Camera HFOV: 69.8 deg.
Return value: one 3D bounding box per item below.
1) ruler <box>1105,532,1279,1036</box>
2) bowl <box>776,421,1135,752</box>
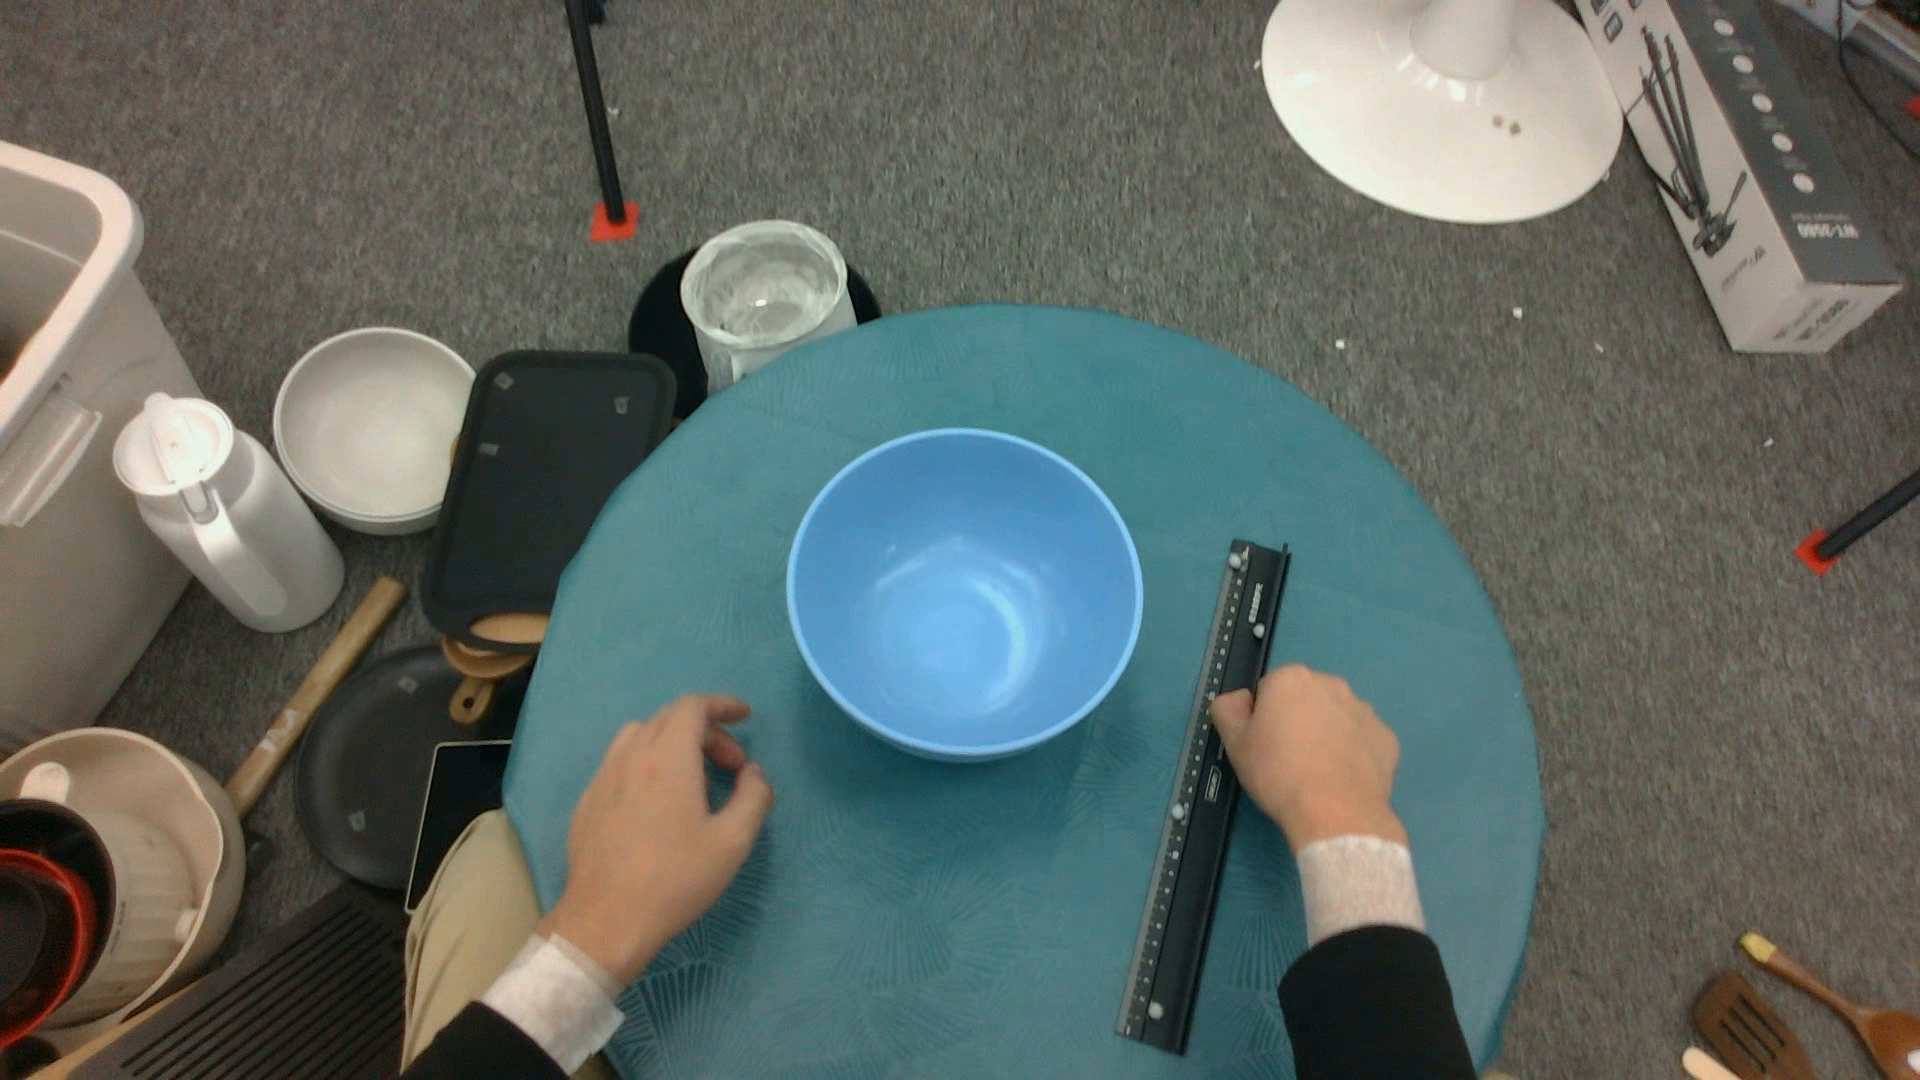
[{"bbox_3d":[0.141,0.126,0.801,0.039,0.017,0.314,17,62,6],"label":"ruler"},{"bbox_3d":[-0.005,0.039,0.790,0.196,0.095,0.197,2,61,-4],"label":"bowl"}]
